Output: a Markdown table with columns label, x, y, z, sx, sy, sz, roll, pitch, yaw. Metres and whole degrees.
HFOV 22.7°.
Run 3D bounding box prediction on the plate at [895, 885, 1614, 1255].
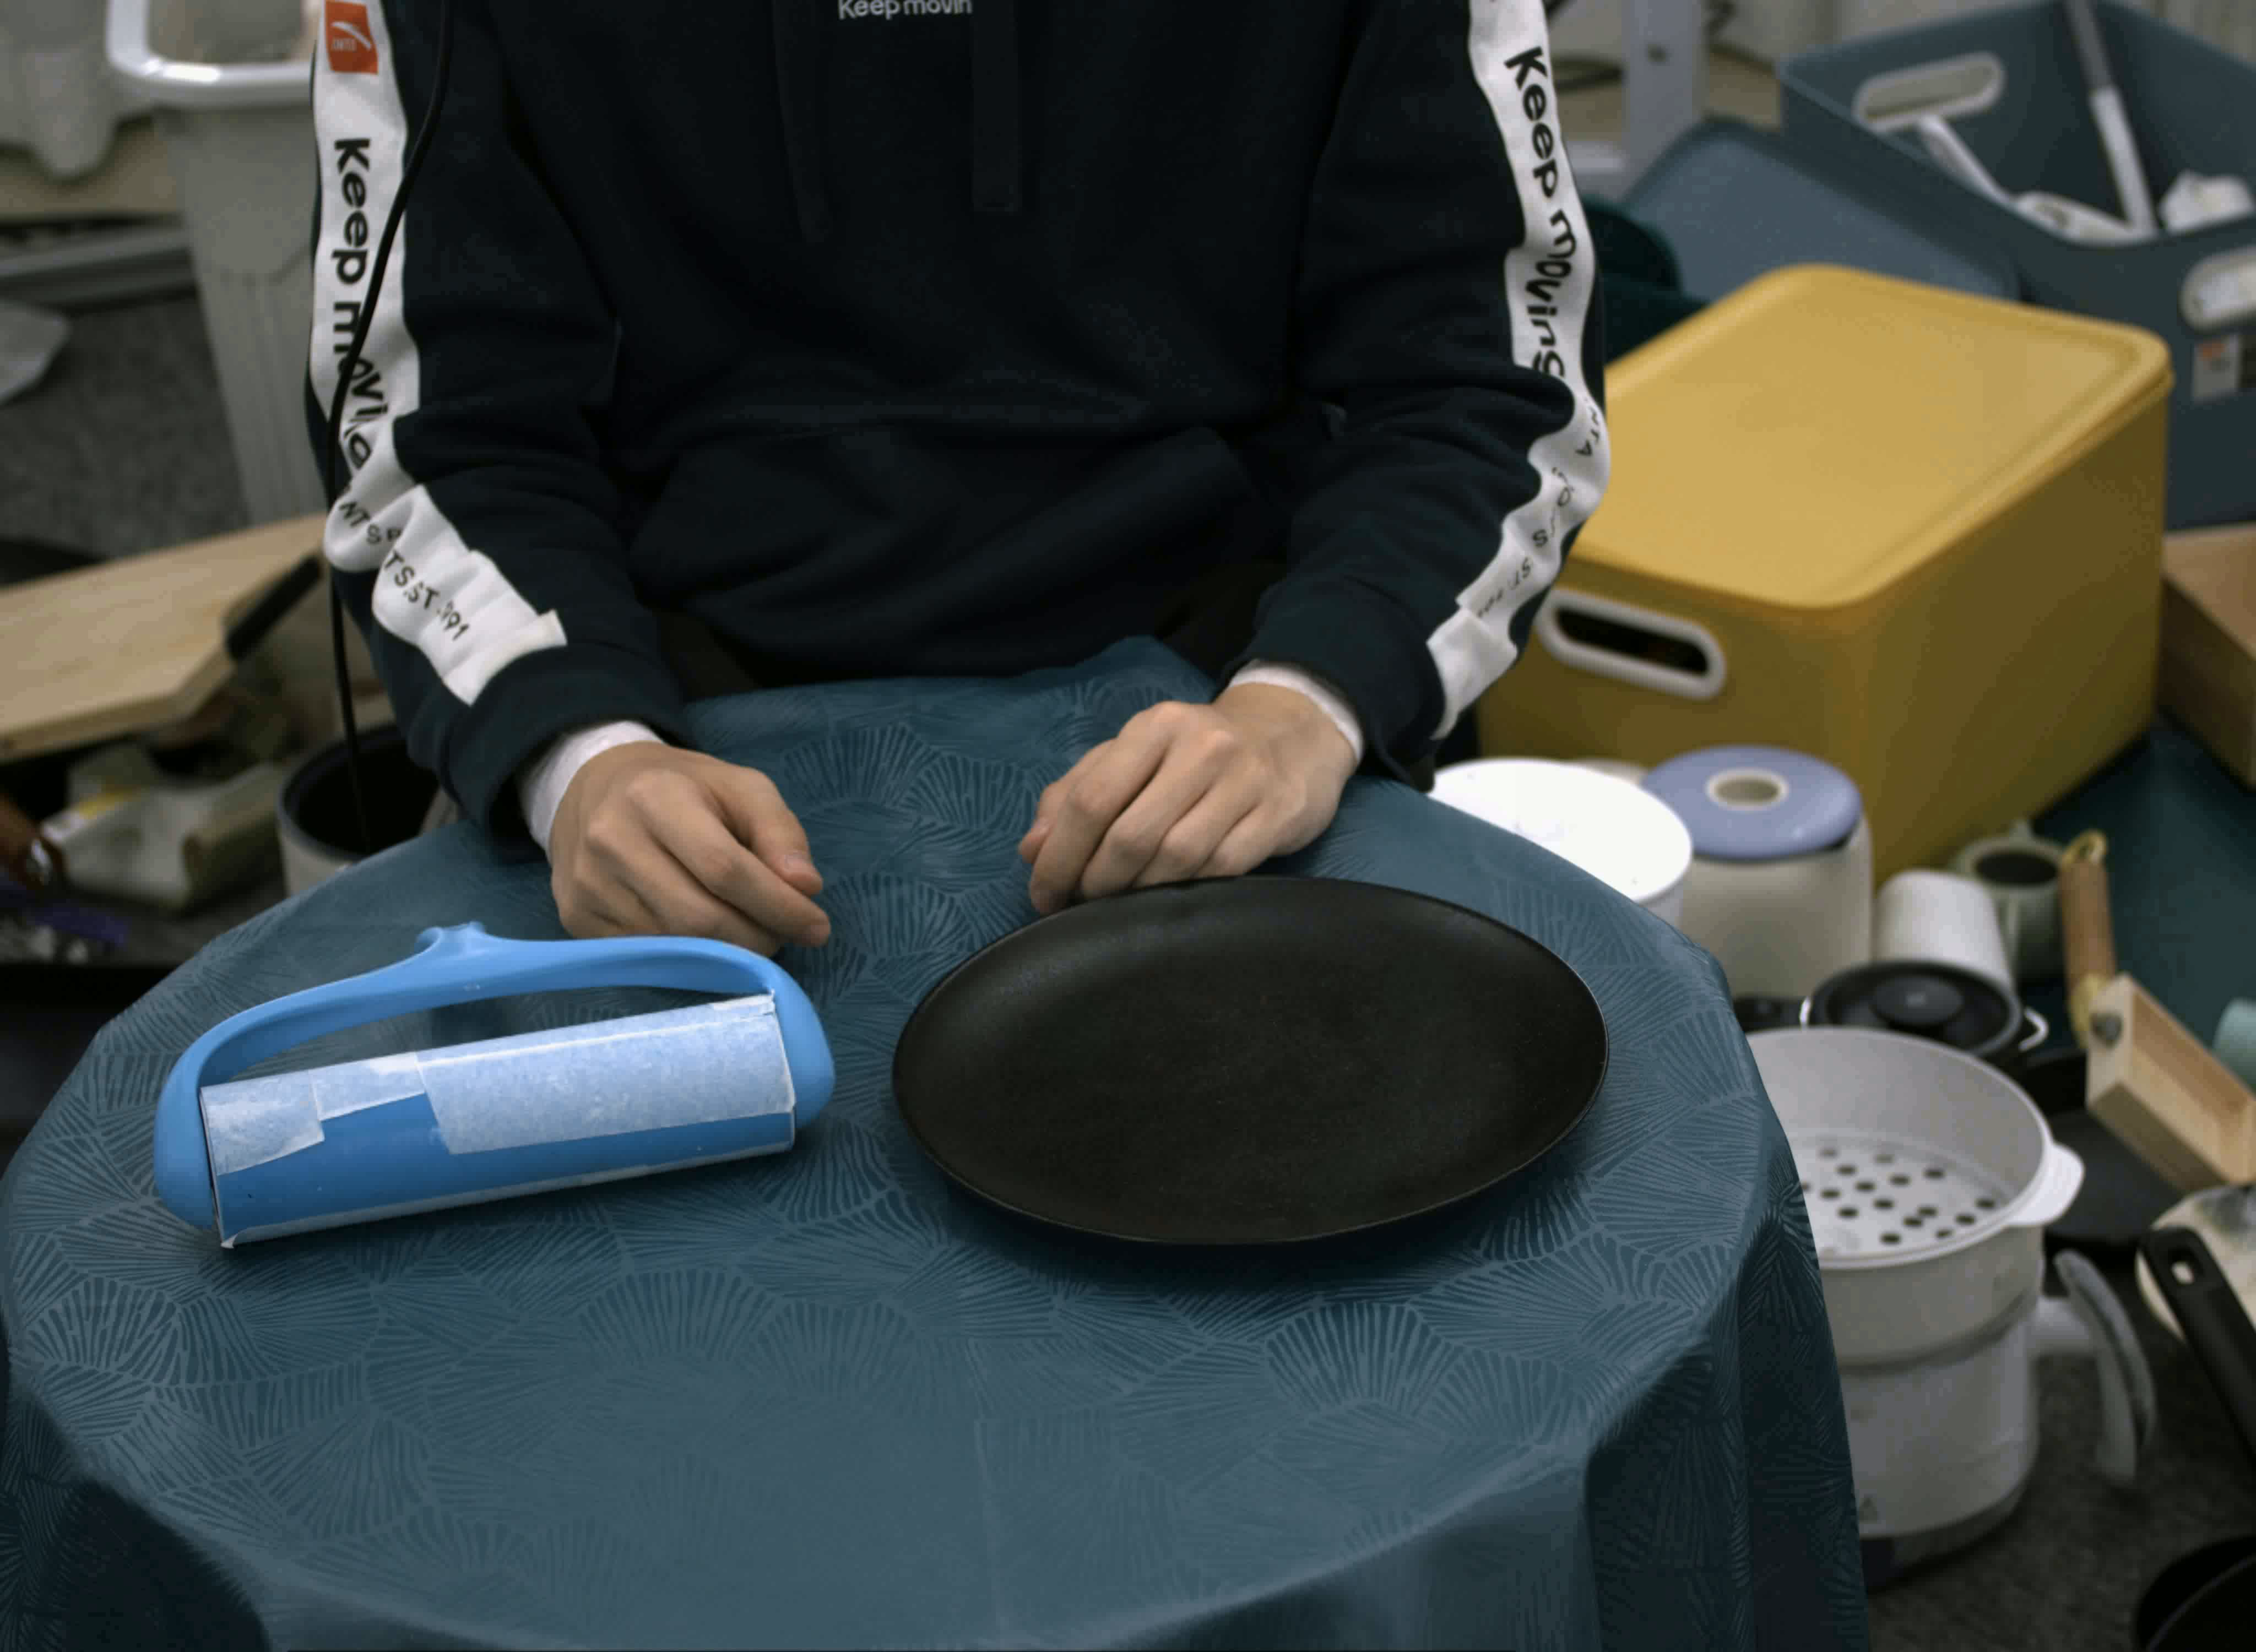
| label | x | y | z | sx | sy | sz | roll | pitch | yaw |
| --- | --- | --- | --- | --- | --- | --- | --- | --- | --- |
| plate | 0.043 | 0.086 | 1.901 | 0.243 | 0.023 | 0.248 | -2 | 27 | 1 |

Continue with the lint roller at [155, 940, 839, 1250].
| label | x | y | z | sx | sy | sz | roll | pitch | yaw |
| --- | --- | --- | --- | --- | --- | --- | --- | --- | --- |
| lint roller | -0.225 | 0.073 | 1.916 | 0.229 | 0.067 | 0.182 | -11 | 27 | -14 |
